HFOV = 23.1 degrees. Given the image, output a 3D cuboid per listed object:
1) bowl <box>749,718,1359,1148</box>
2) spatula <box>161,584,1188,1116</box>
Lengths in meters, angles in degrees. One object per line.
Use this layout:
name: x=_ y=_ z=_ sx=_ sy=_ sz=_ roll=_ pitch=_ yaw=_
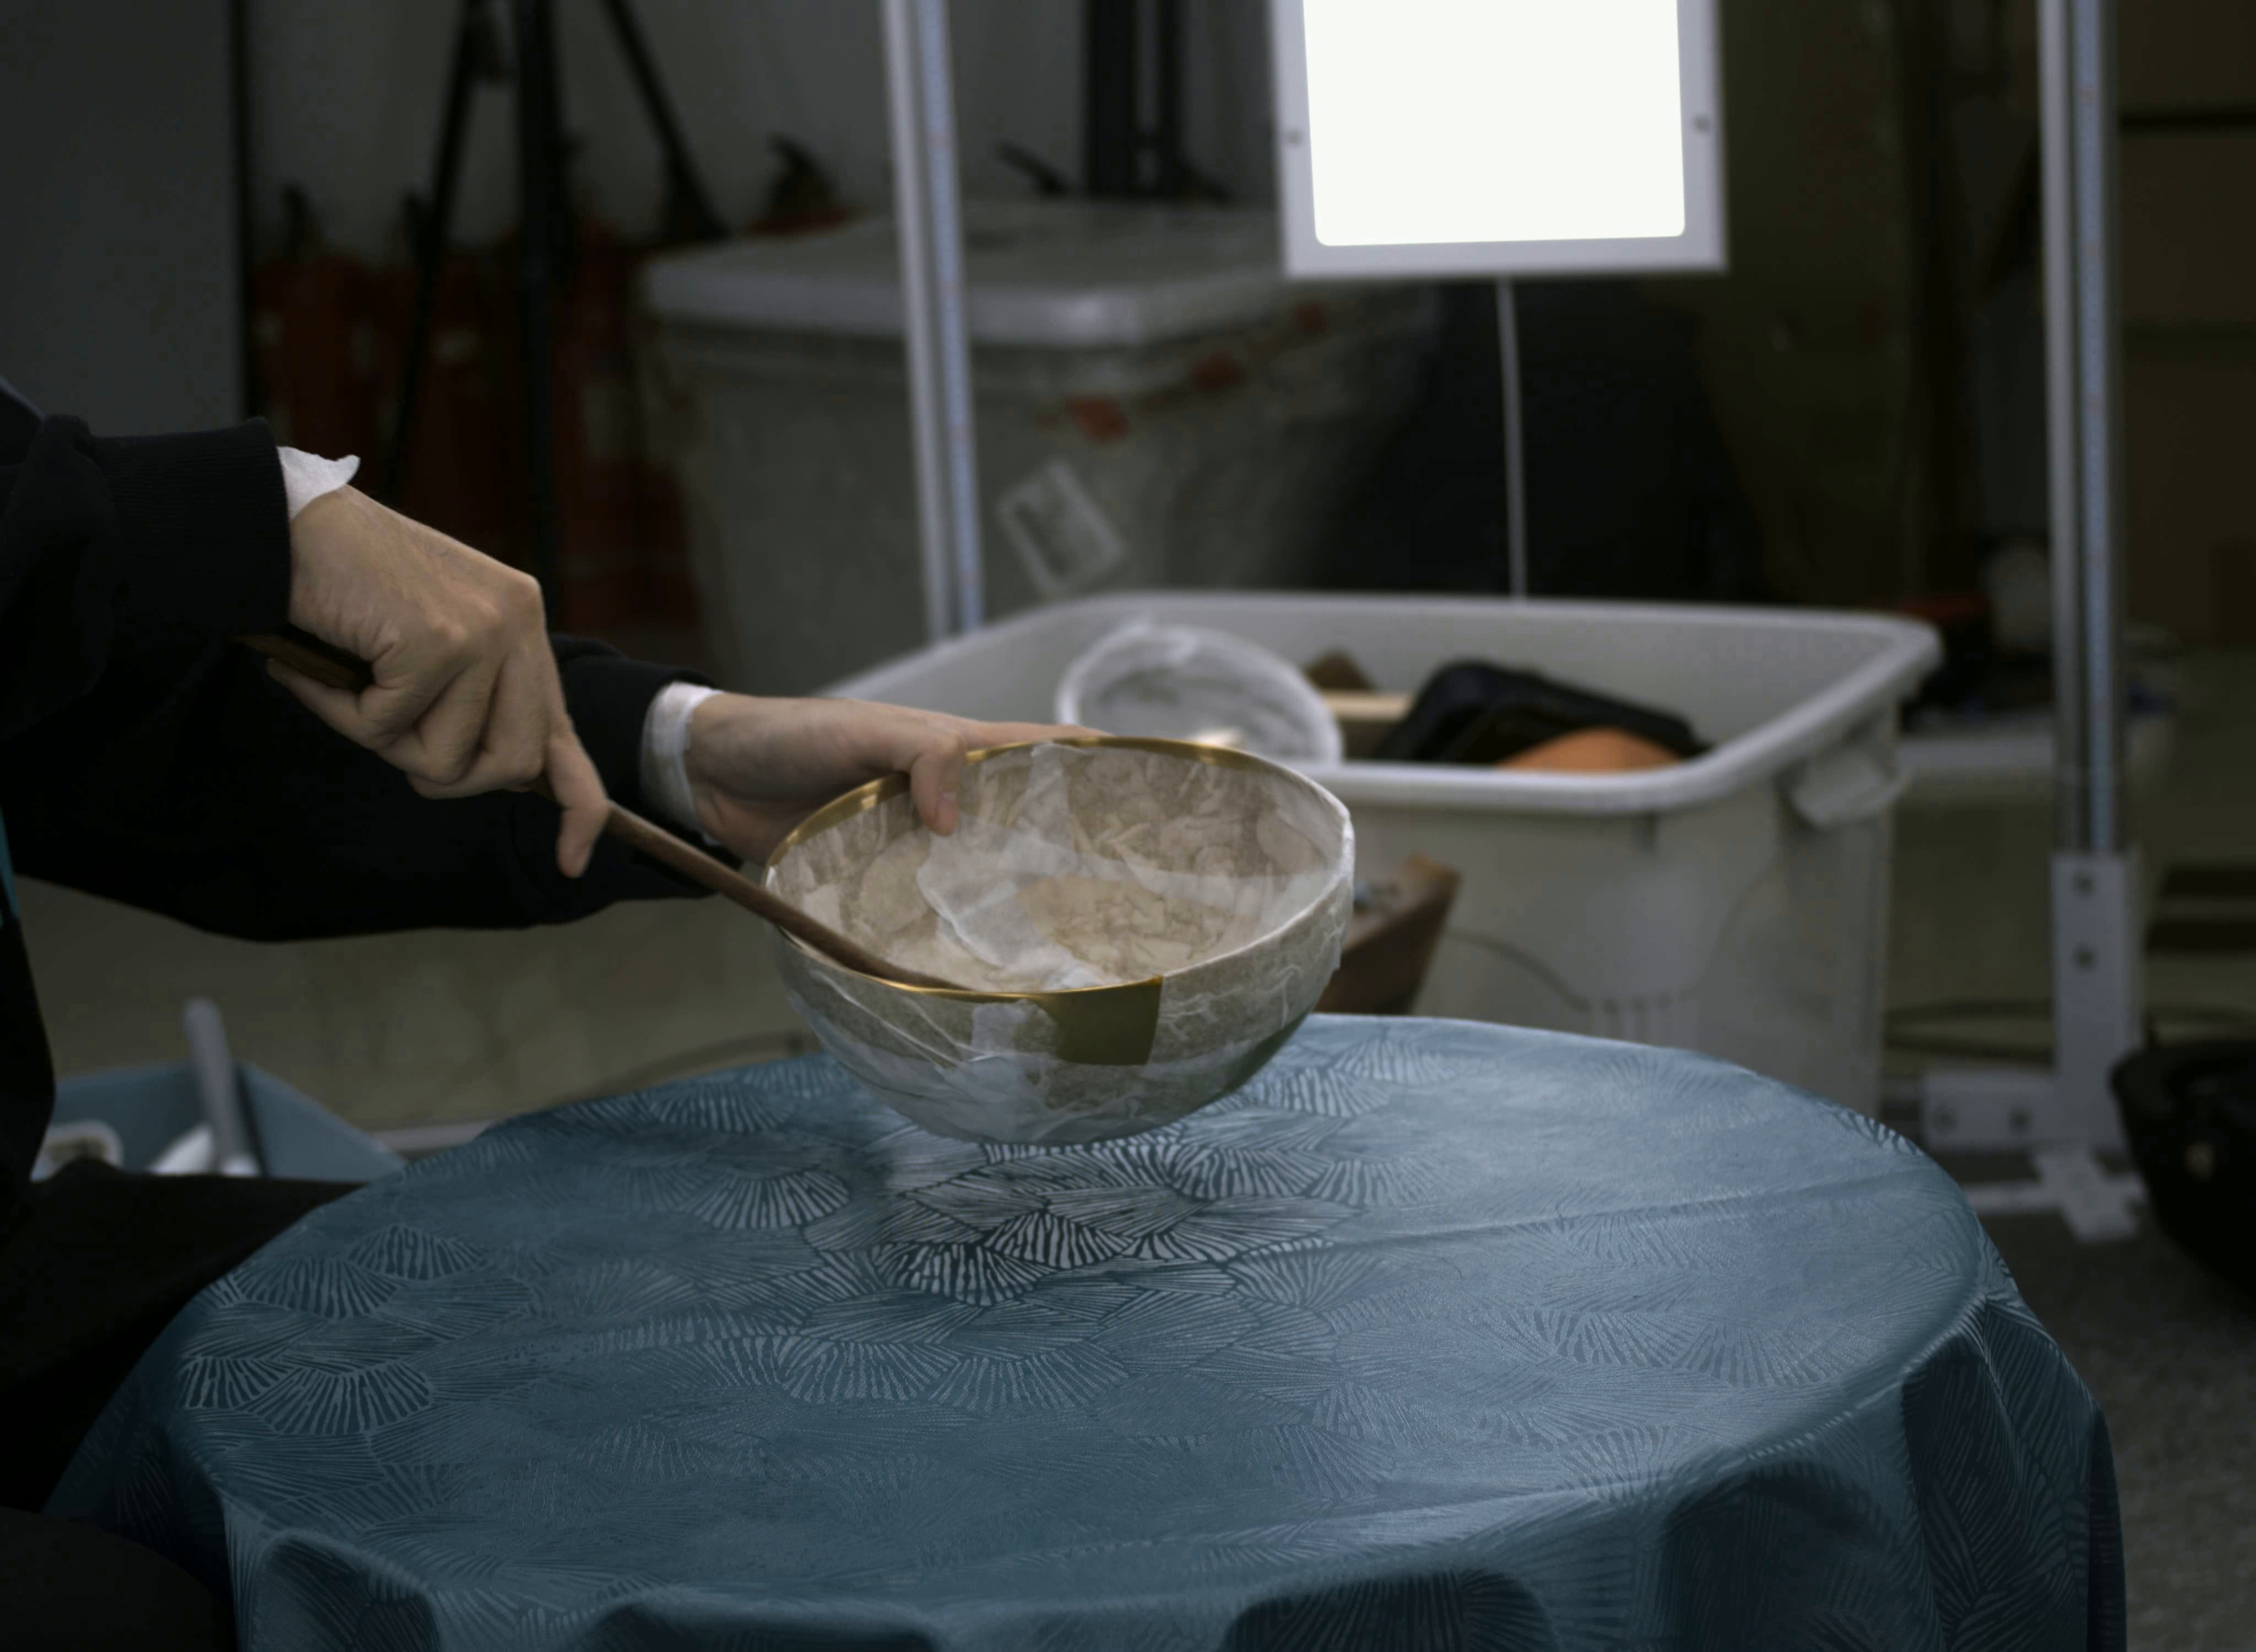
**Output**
bowl: x=-0.022 y=0.048 z=1.868 sx=0.214 sy=0.095 sz=0.214 roll=-8 pitch=26 yaw=2
spatula: x=-0.144 y=0.008 z=1.808 sx=0.381 sy=0.016 sz=0.097 roll=29 pitch=4 yaw=-19
